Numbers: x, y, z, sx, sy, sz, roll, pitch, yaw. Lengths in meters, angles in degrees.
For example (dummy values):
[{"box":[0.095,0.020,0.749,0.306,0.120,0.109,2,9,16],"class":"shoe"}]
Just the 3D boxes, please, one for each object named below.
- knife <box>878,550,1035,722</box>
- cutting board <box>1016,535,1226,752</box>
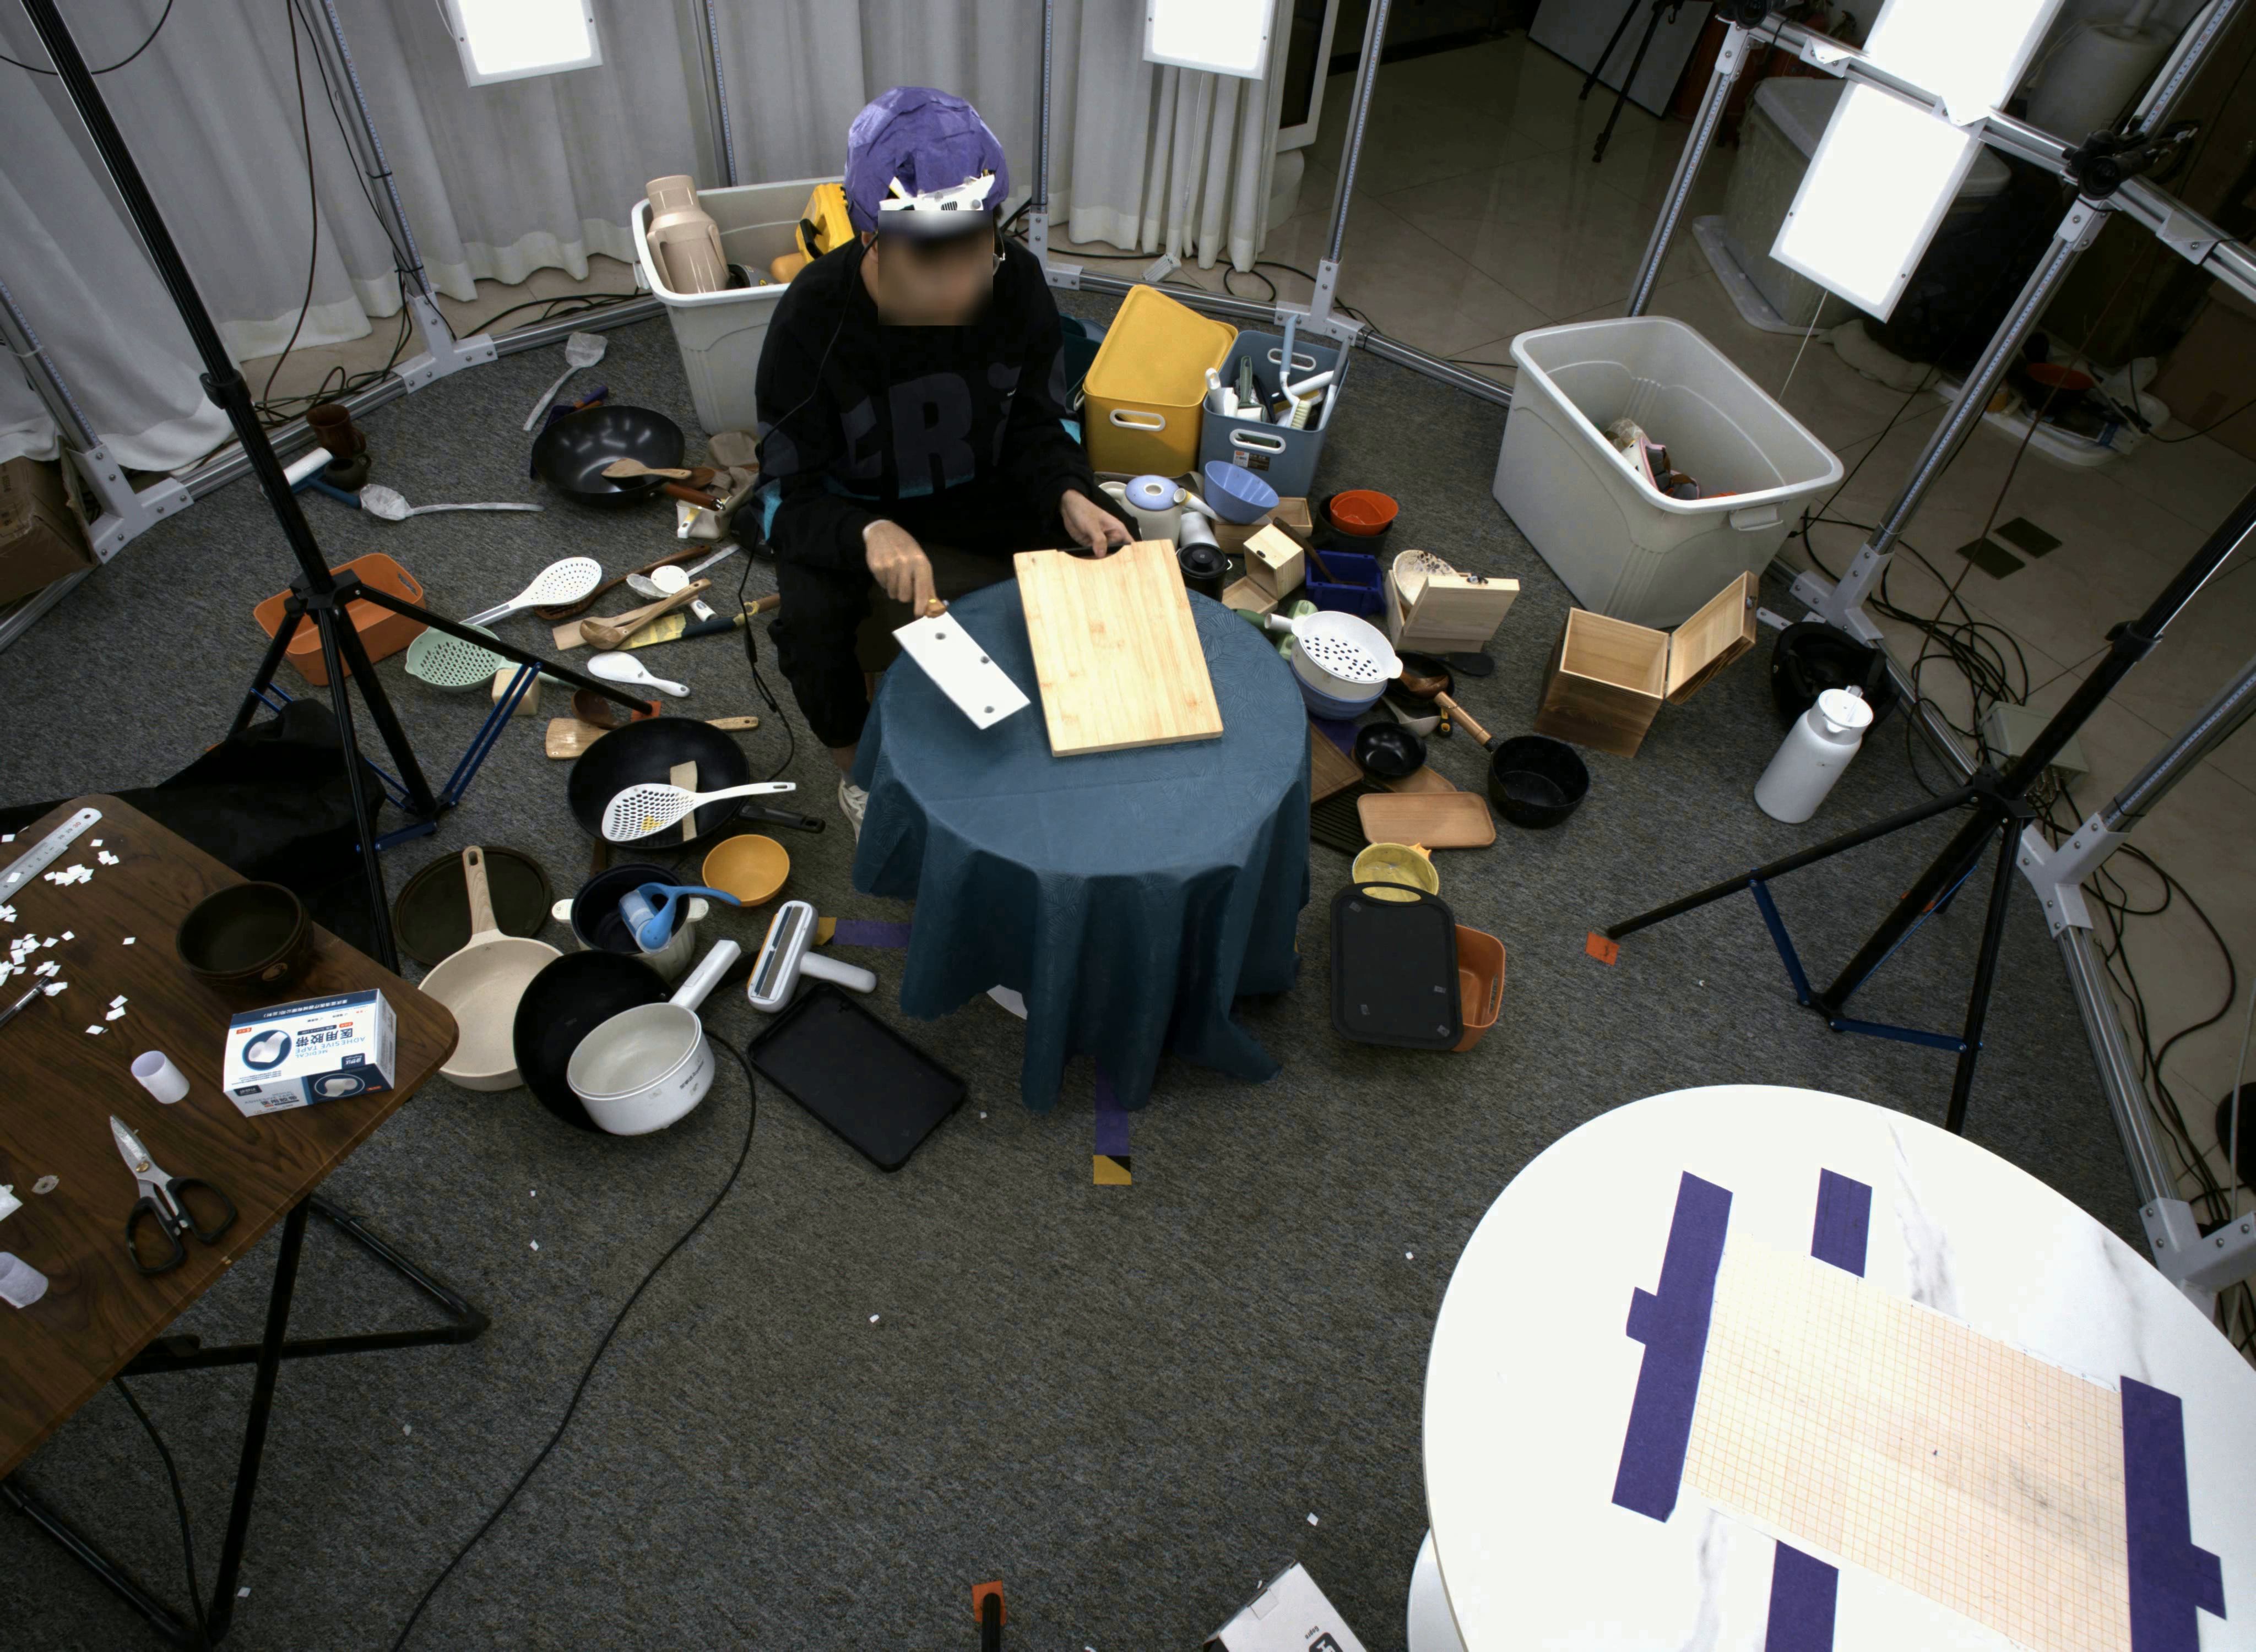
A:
[{"box":[-0.253,-0.258,1.757,0.094,0.020,0.308,-32,73,-38],"class":"knife"},{"box":[-0.014,-0.266,1.841,0.250,0.023,0.356,-8,62,-11],"class":"cutting board"}]
